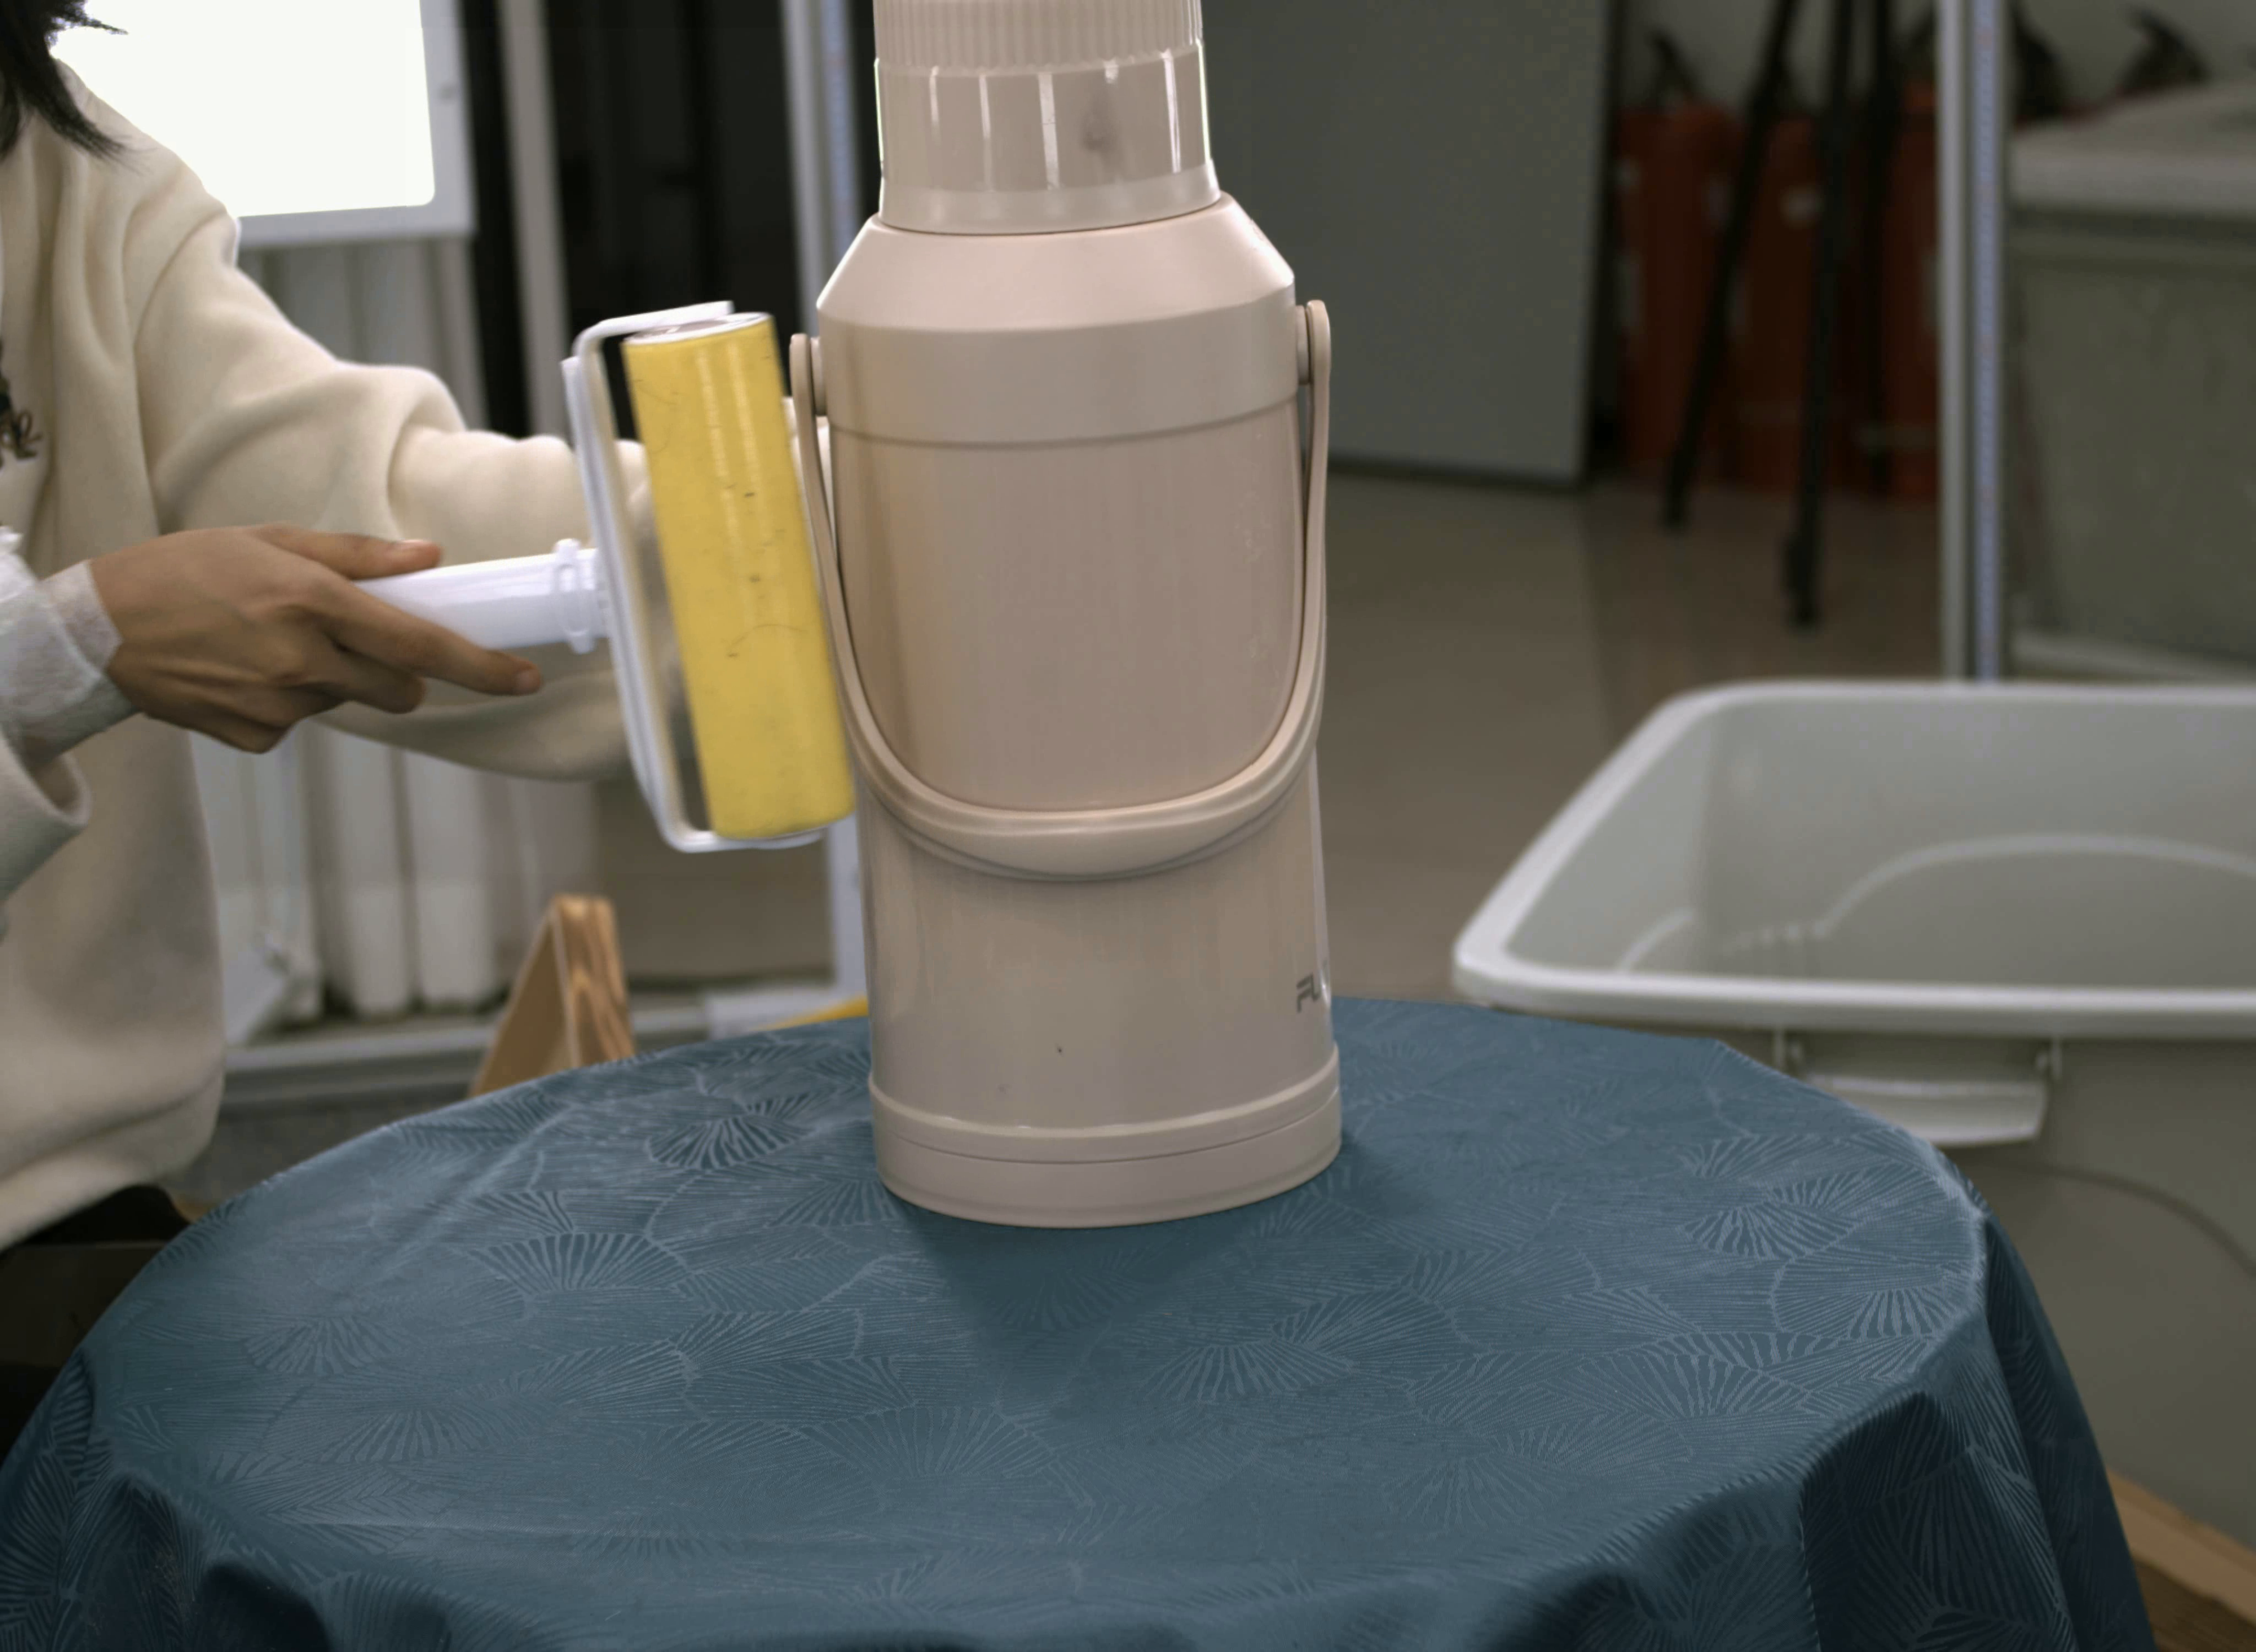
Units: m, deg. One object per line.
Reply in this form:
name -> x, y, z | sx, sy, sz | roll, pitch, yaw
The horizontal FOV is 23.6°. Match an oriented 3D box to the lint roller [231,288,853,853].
lint roller -> -0.193, -0.068, 1.708 | 0.190, 0.176, 0.051 | -10, 10, 6

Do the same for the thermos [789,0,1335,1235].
thermos -> -0.018, -0.085, 1.778 | 0.173, 0.411, 0.207 | -4, 13, -1
